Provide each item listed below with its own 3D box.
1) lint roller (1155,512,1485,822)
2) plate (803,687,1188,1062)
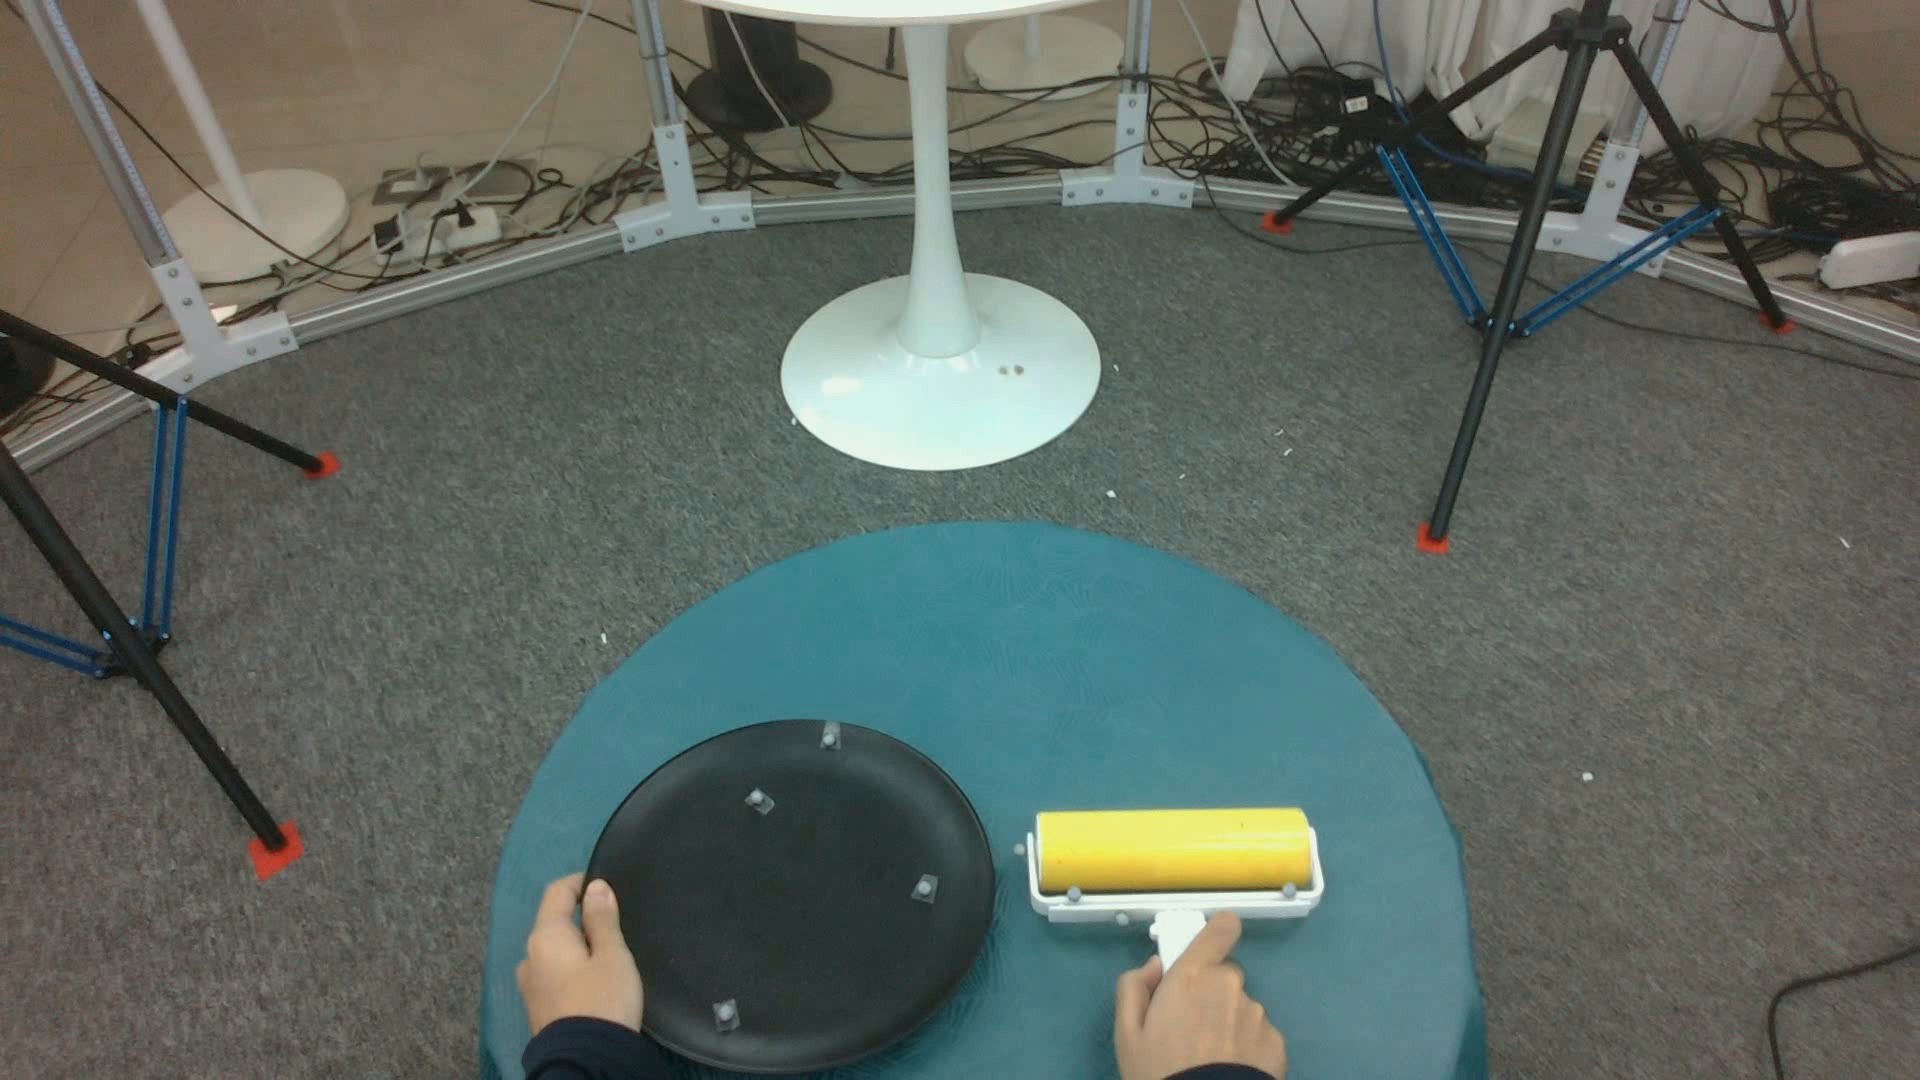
[{"bbox_3d":[0.227,0.086,0.791,0.174,0.051,0.192,-37,38,-1],"label":"lint roller"},{"bbox_3d":[0.020,0.196,0.833,0.244,0.023,0.245,-13,46,15],"label":"plate"}]
